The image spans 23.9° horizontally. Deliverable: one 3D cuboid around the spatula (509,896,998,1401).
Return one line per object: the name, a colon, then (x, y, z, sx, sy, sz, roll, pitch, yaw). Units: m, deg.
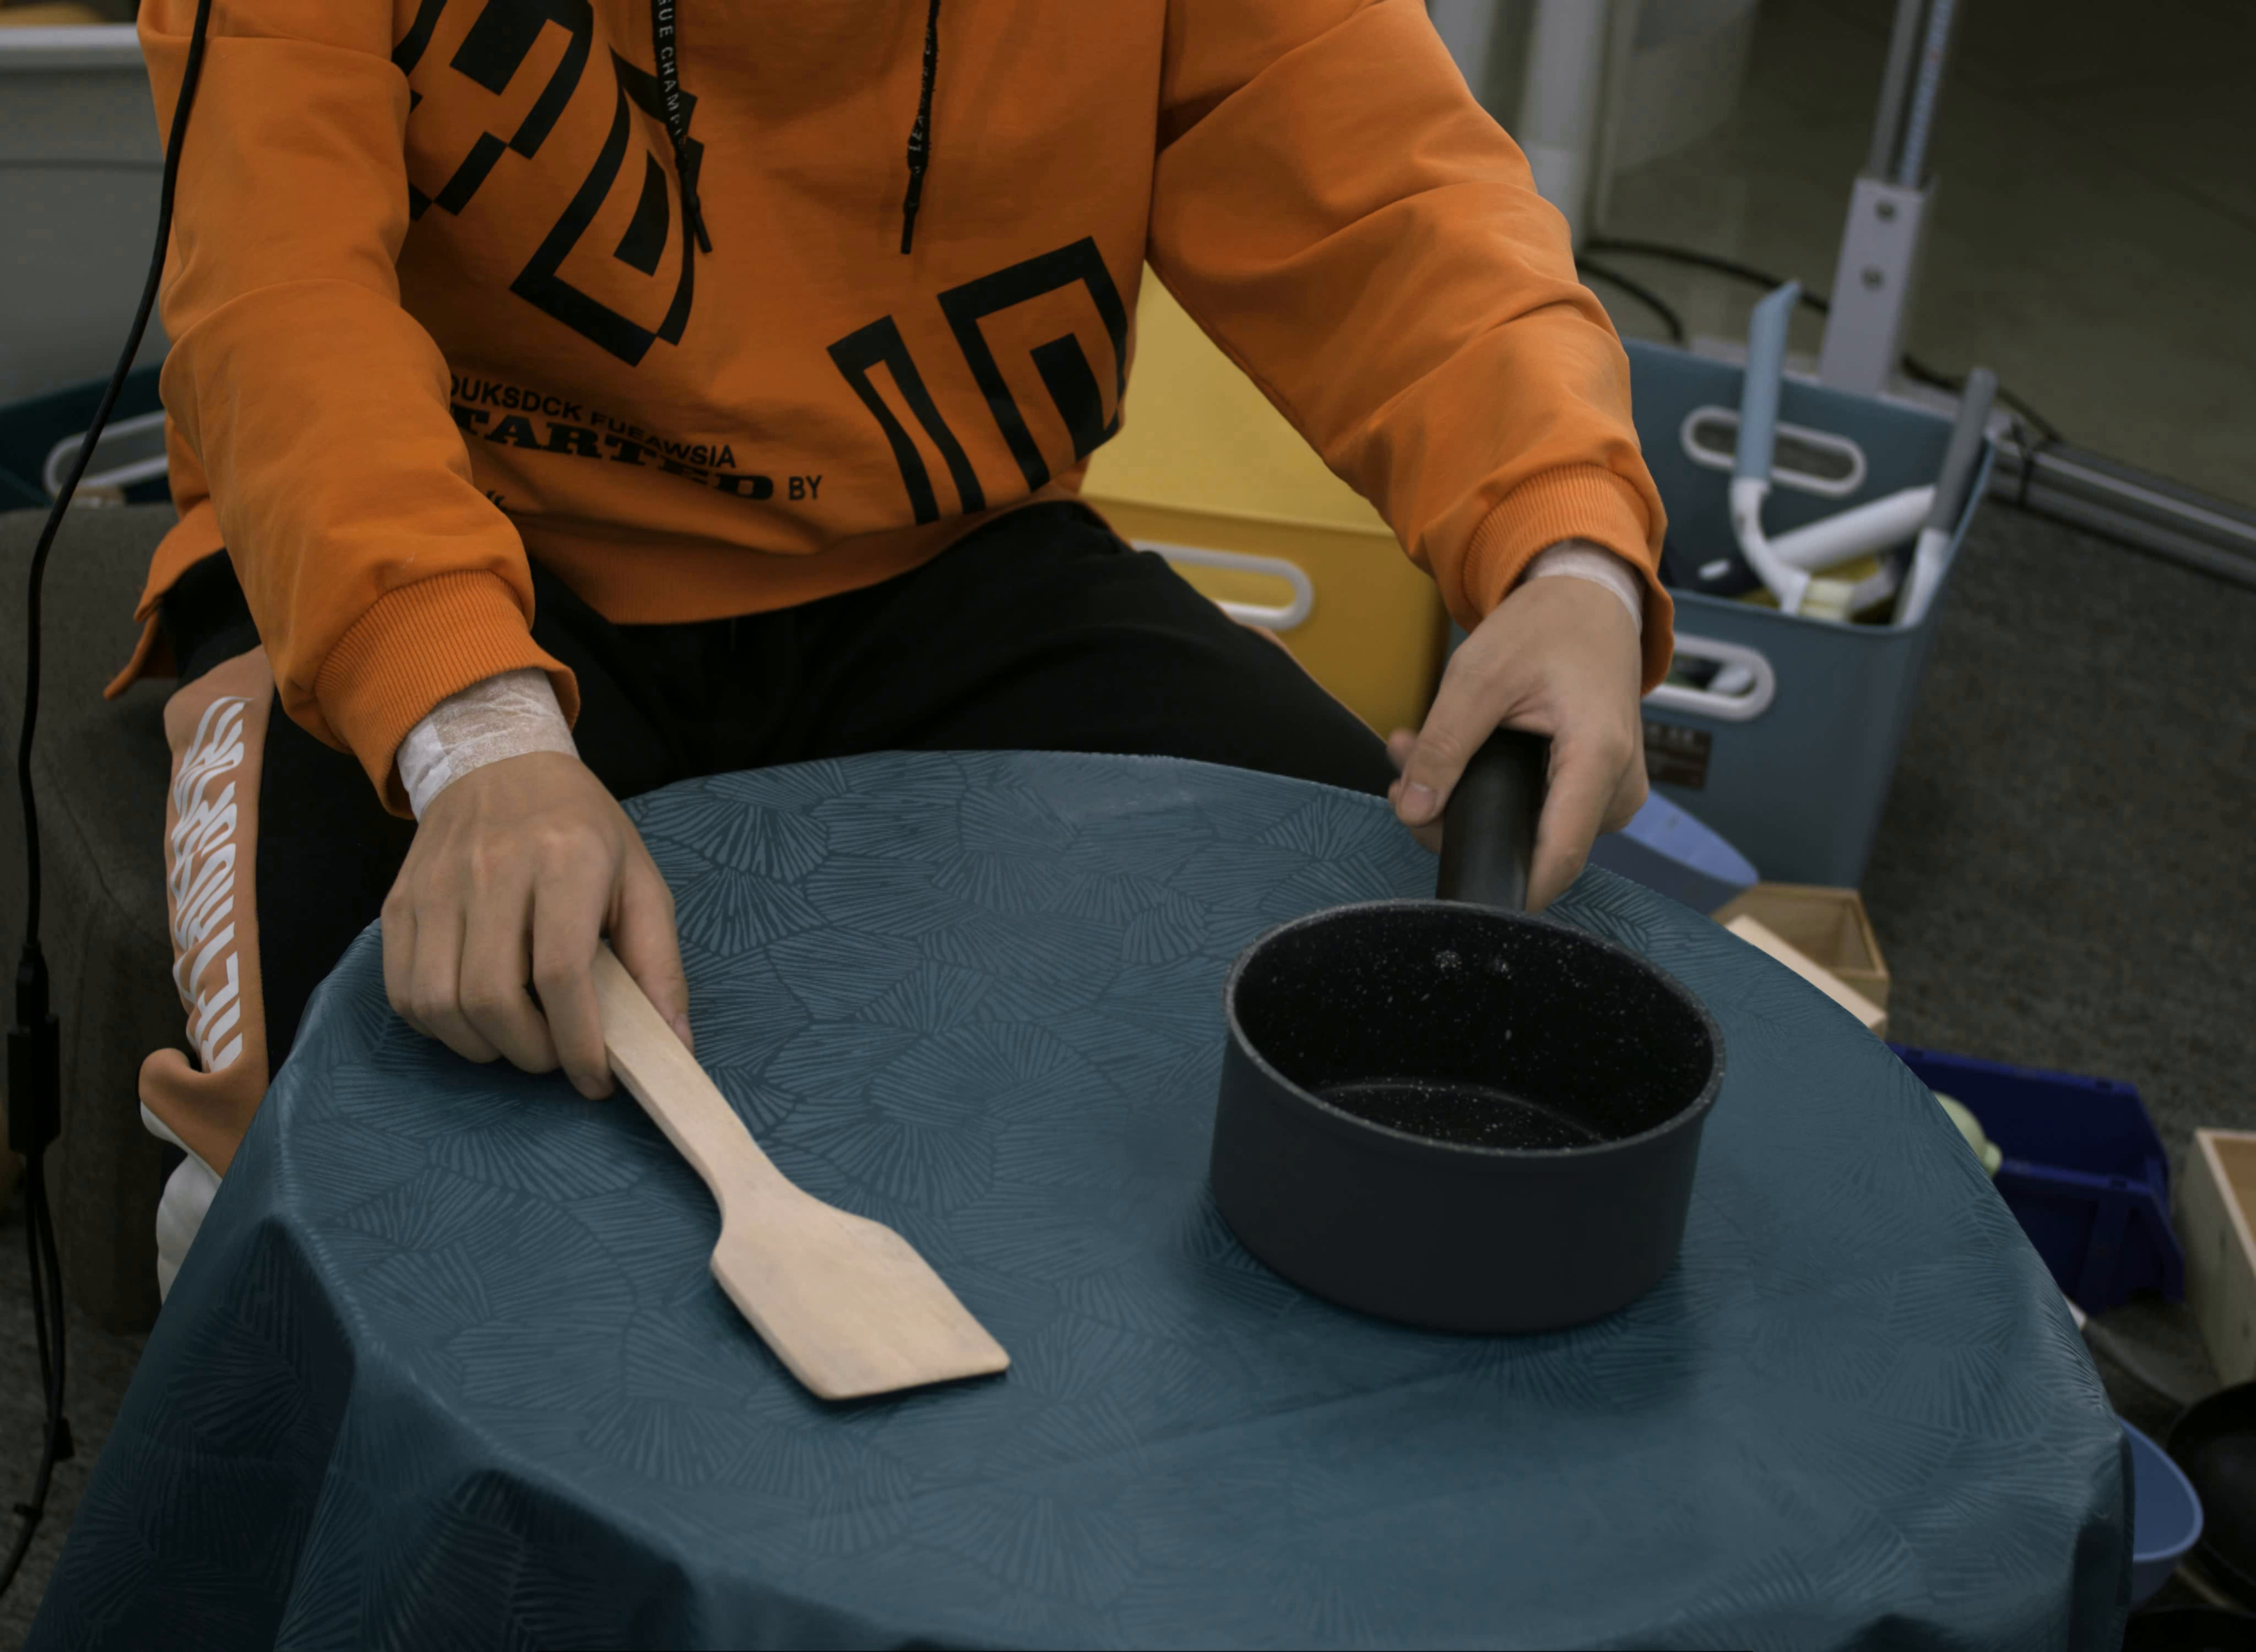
spatula: (-0.140, 0.103, 1.781, 0.072, 0.010, 0.296, -9, 35, -29)

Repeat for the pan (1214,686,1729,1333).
pan: (0.123, 0.059, 1.863, 0.172, 0.086, 0.330, 10, 29, 5)
